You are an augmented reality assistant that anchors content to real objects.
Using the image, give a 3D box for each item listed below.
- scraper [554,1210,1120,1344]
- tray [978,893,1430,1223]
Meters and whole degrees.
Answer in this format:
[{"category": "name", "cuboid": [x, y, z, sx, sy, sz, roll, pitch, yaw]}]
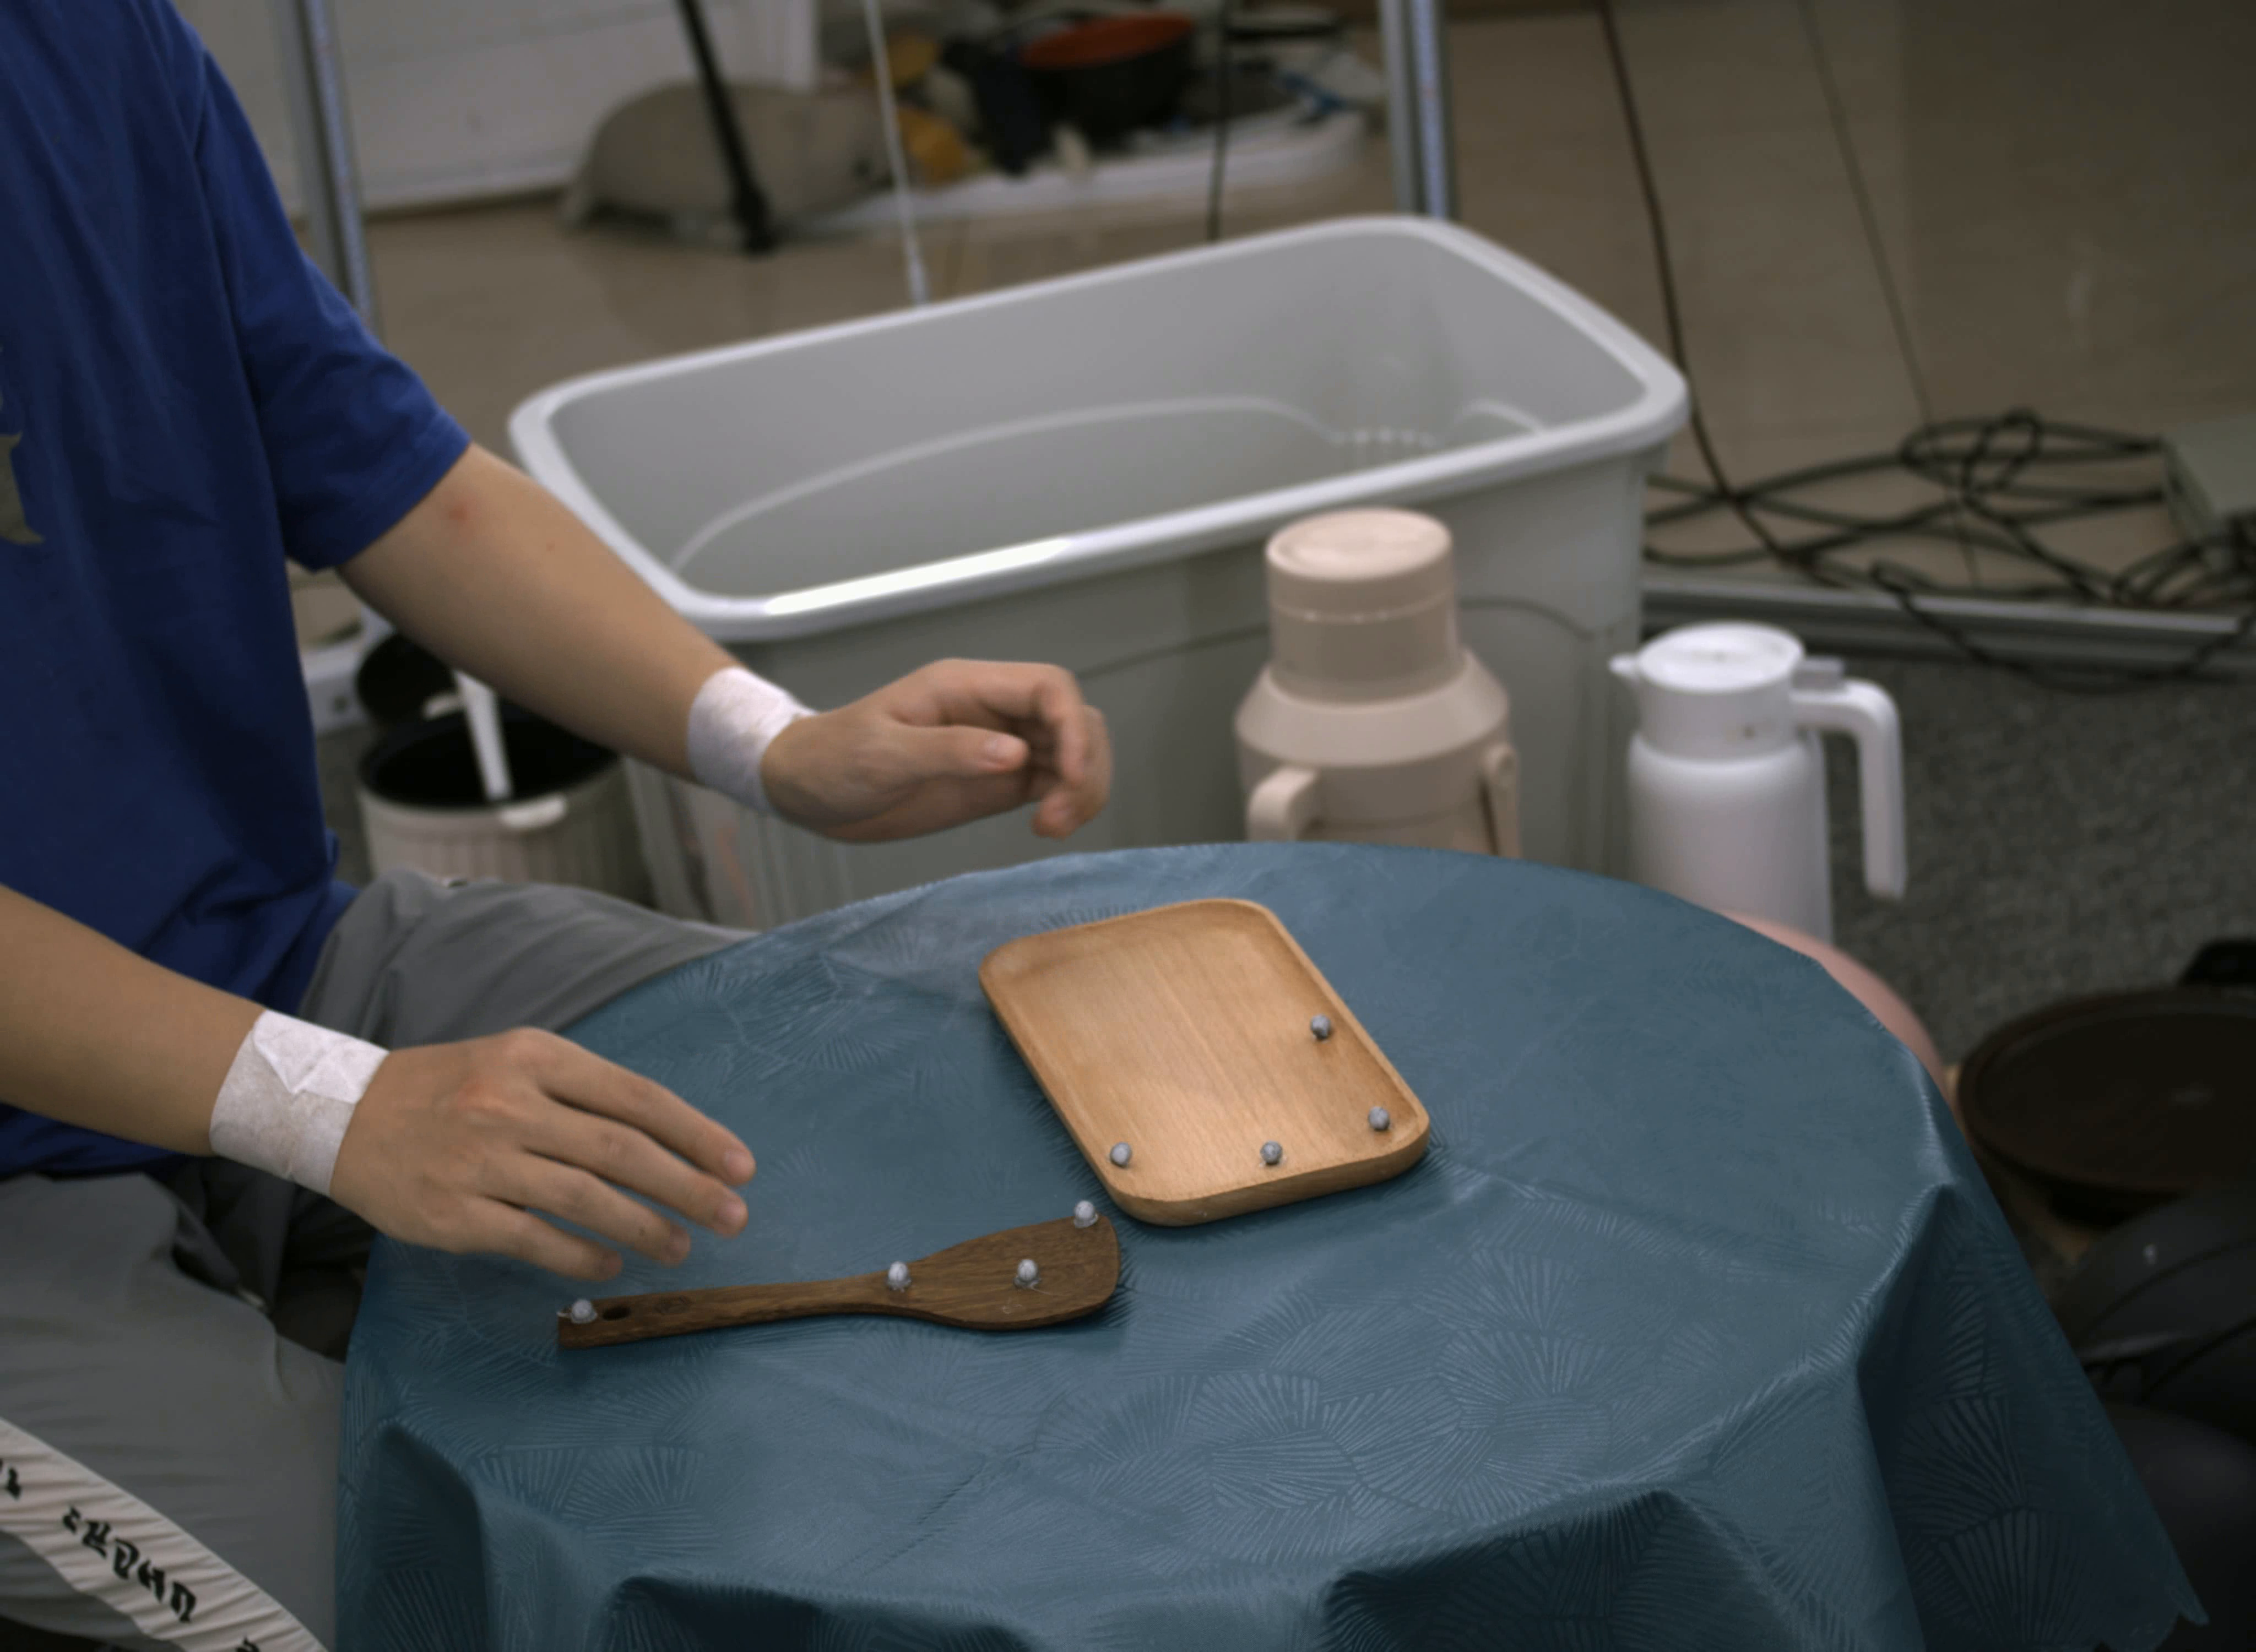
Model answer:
[{"category": "scraper", "cuboid": [-0.107, 0.172, 2.091, 0.211, 0.011, 0.075, -7, 24, 2]}, {"category": "tray", "cuboid": [0.027, 0.089, 2.228, 0.130, 0.023, 0.247, -9, 24, -12]}]
